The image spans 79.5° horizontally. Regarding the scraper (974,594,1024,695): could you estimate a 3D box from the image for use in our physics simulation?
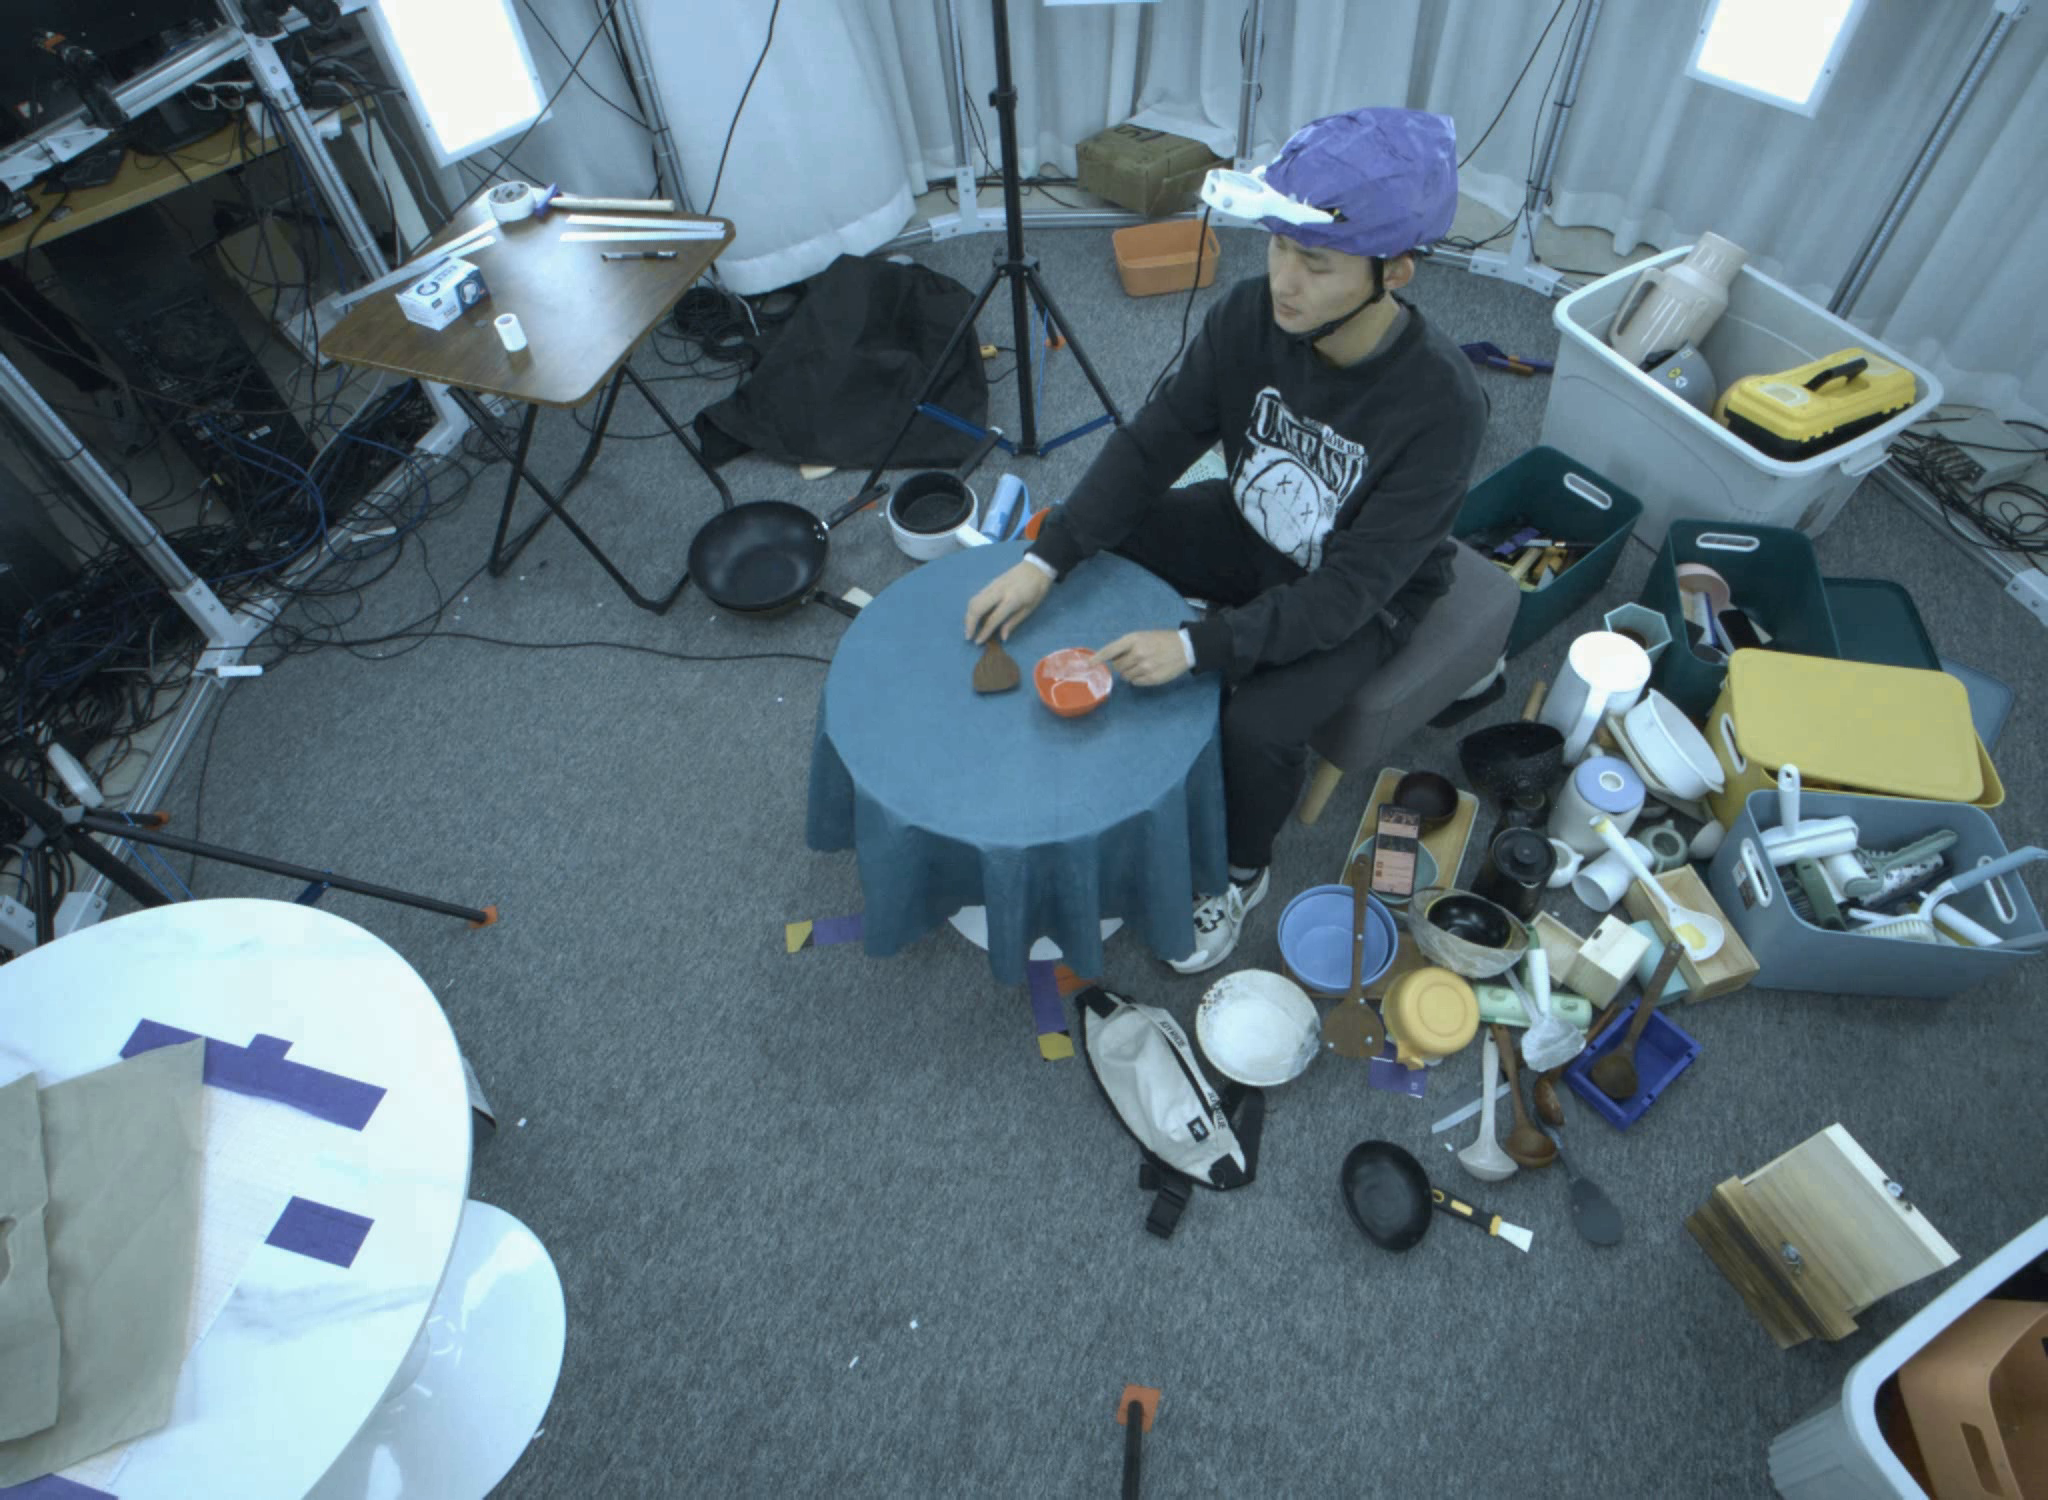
[{"bbox_3d":[-0.049,-0.166,1.911,0.076,0.011,0.208,-6,54,-4],"label":"scraper"}]

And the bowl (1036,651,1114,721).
[{"bbox_3d":[0.076,-0.087,1.827,0.119,0.052,0.118,-1,55,3],"label":"bowl"}]
